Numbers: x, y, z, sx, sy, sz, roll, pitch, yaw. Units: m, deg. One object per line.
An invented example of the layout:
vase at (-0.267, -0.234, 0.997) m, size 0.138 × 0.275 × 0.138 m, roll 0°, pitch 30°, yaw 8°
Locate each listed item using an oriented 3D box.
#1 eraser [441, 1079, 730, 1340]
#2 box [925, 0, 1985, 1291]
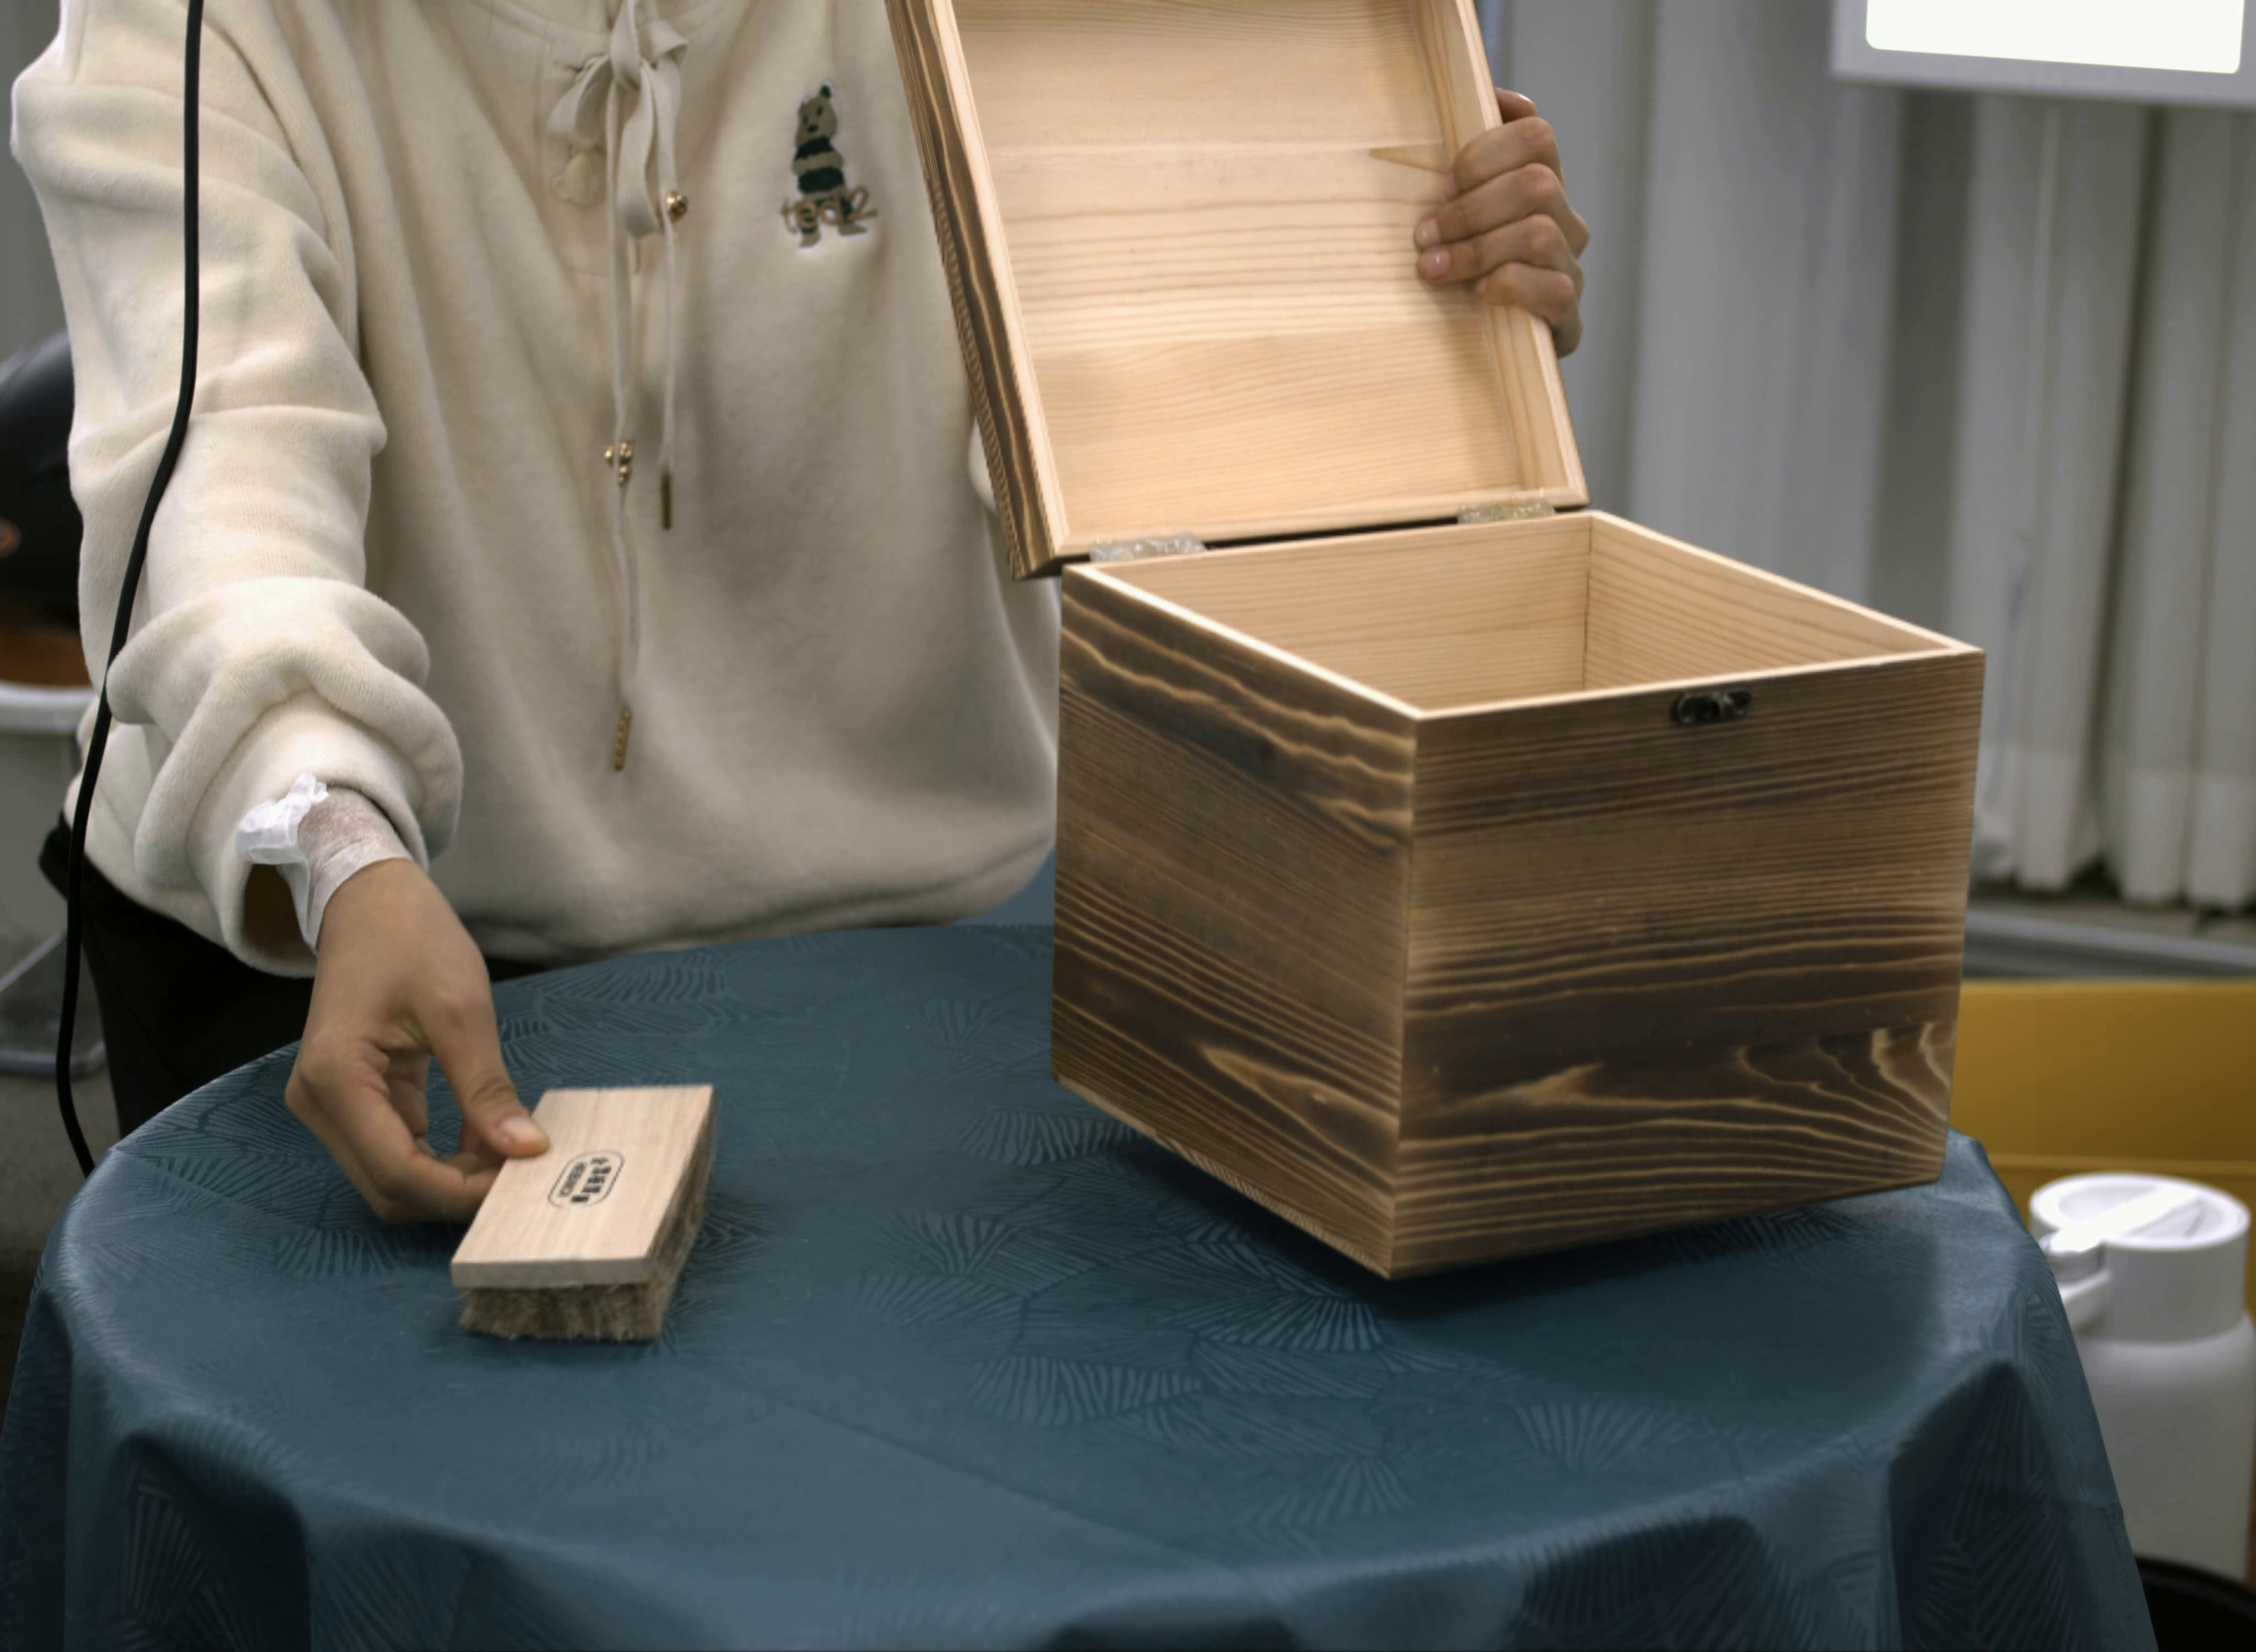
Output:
eraser at (-0.157, 0.112, 1.550) m, size 0.057 × 0.029 × 0.139 m, roll -2°, pitch 18°, yaw 8°
box at (0.089, -0.096, 1.618) m, size 0.210 × 0.378 × 0.318 m, roll -9°, pitch 21°, yaw -30°
